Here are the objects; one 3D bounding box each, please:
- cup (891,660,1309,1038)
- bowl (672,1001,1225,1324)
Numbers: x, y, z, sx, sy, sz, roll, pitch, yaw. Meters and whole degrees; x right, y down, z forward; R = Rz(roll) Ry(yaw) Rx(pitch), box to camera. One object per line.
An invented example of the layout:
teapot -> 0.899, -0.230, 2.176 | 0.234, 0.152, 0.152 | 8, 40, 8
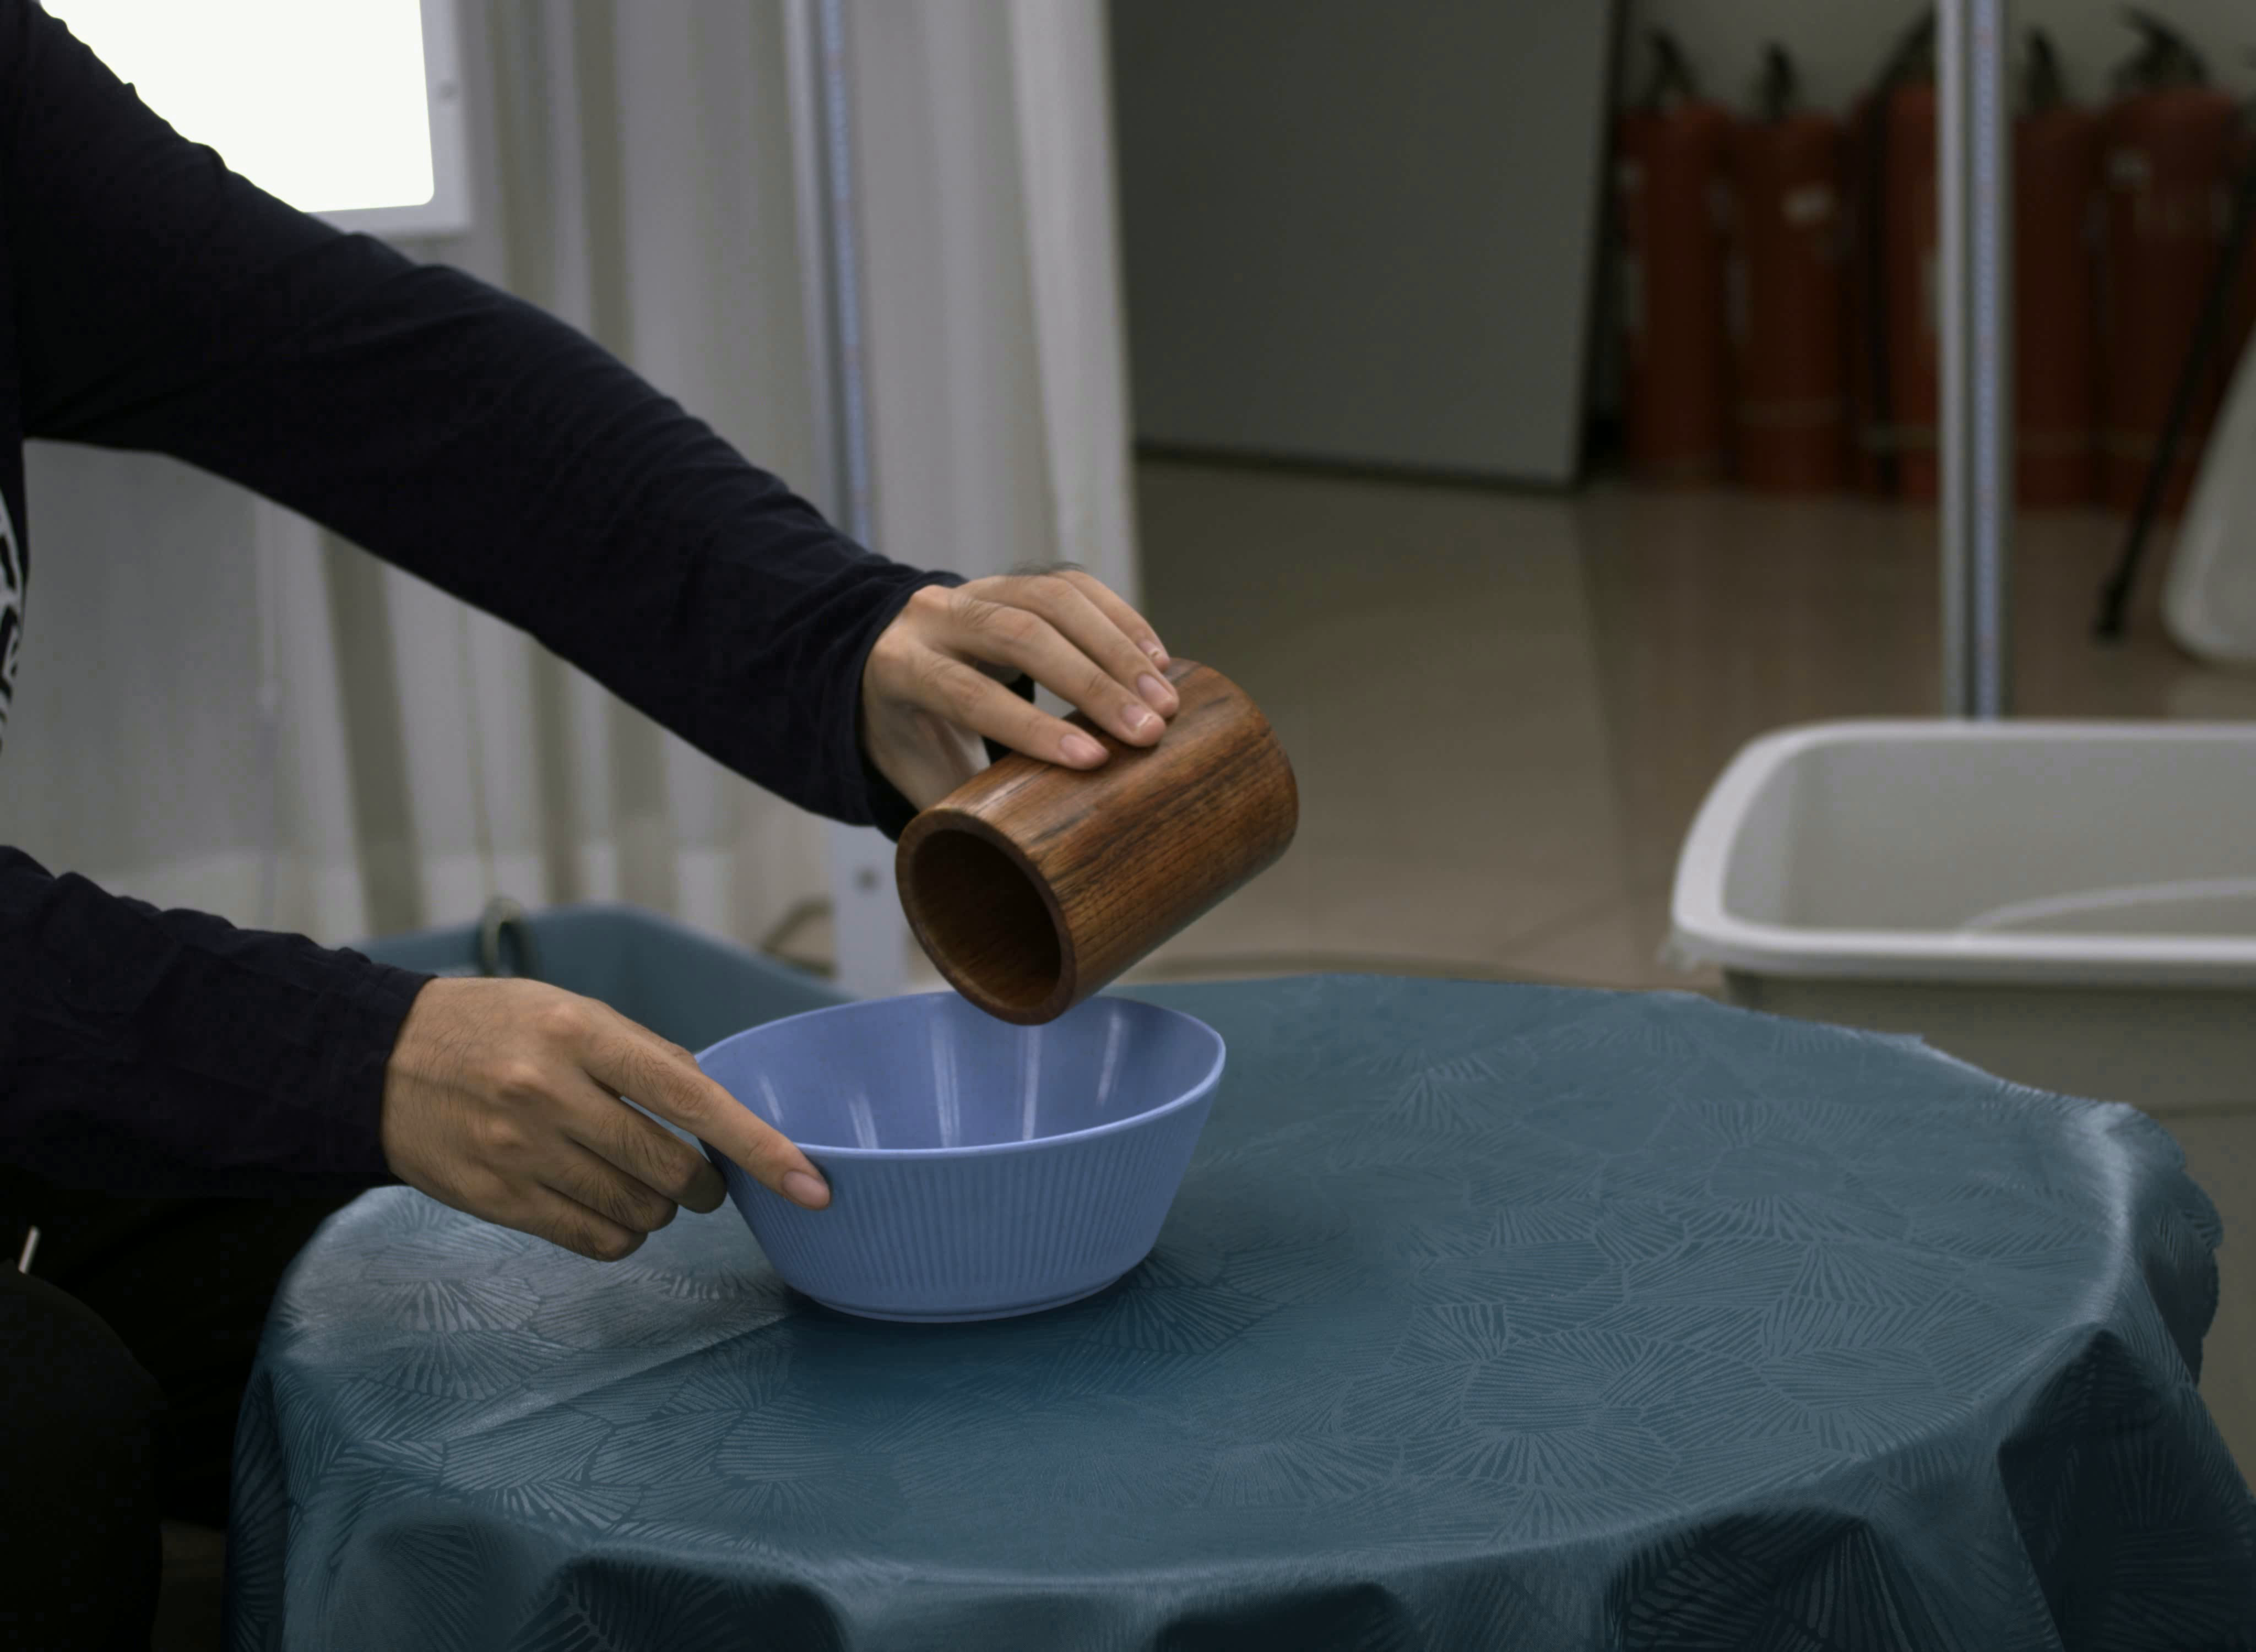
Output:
cup -> -0.008, 0.007, 1.738 | 0.116, 0.088, 0.088 | -30, 27, -35
bowl -> -0.054, 0.108, 1.700 | 0.174, 0.071, 0.176 | -4, 13, 0
